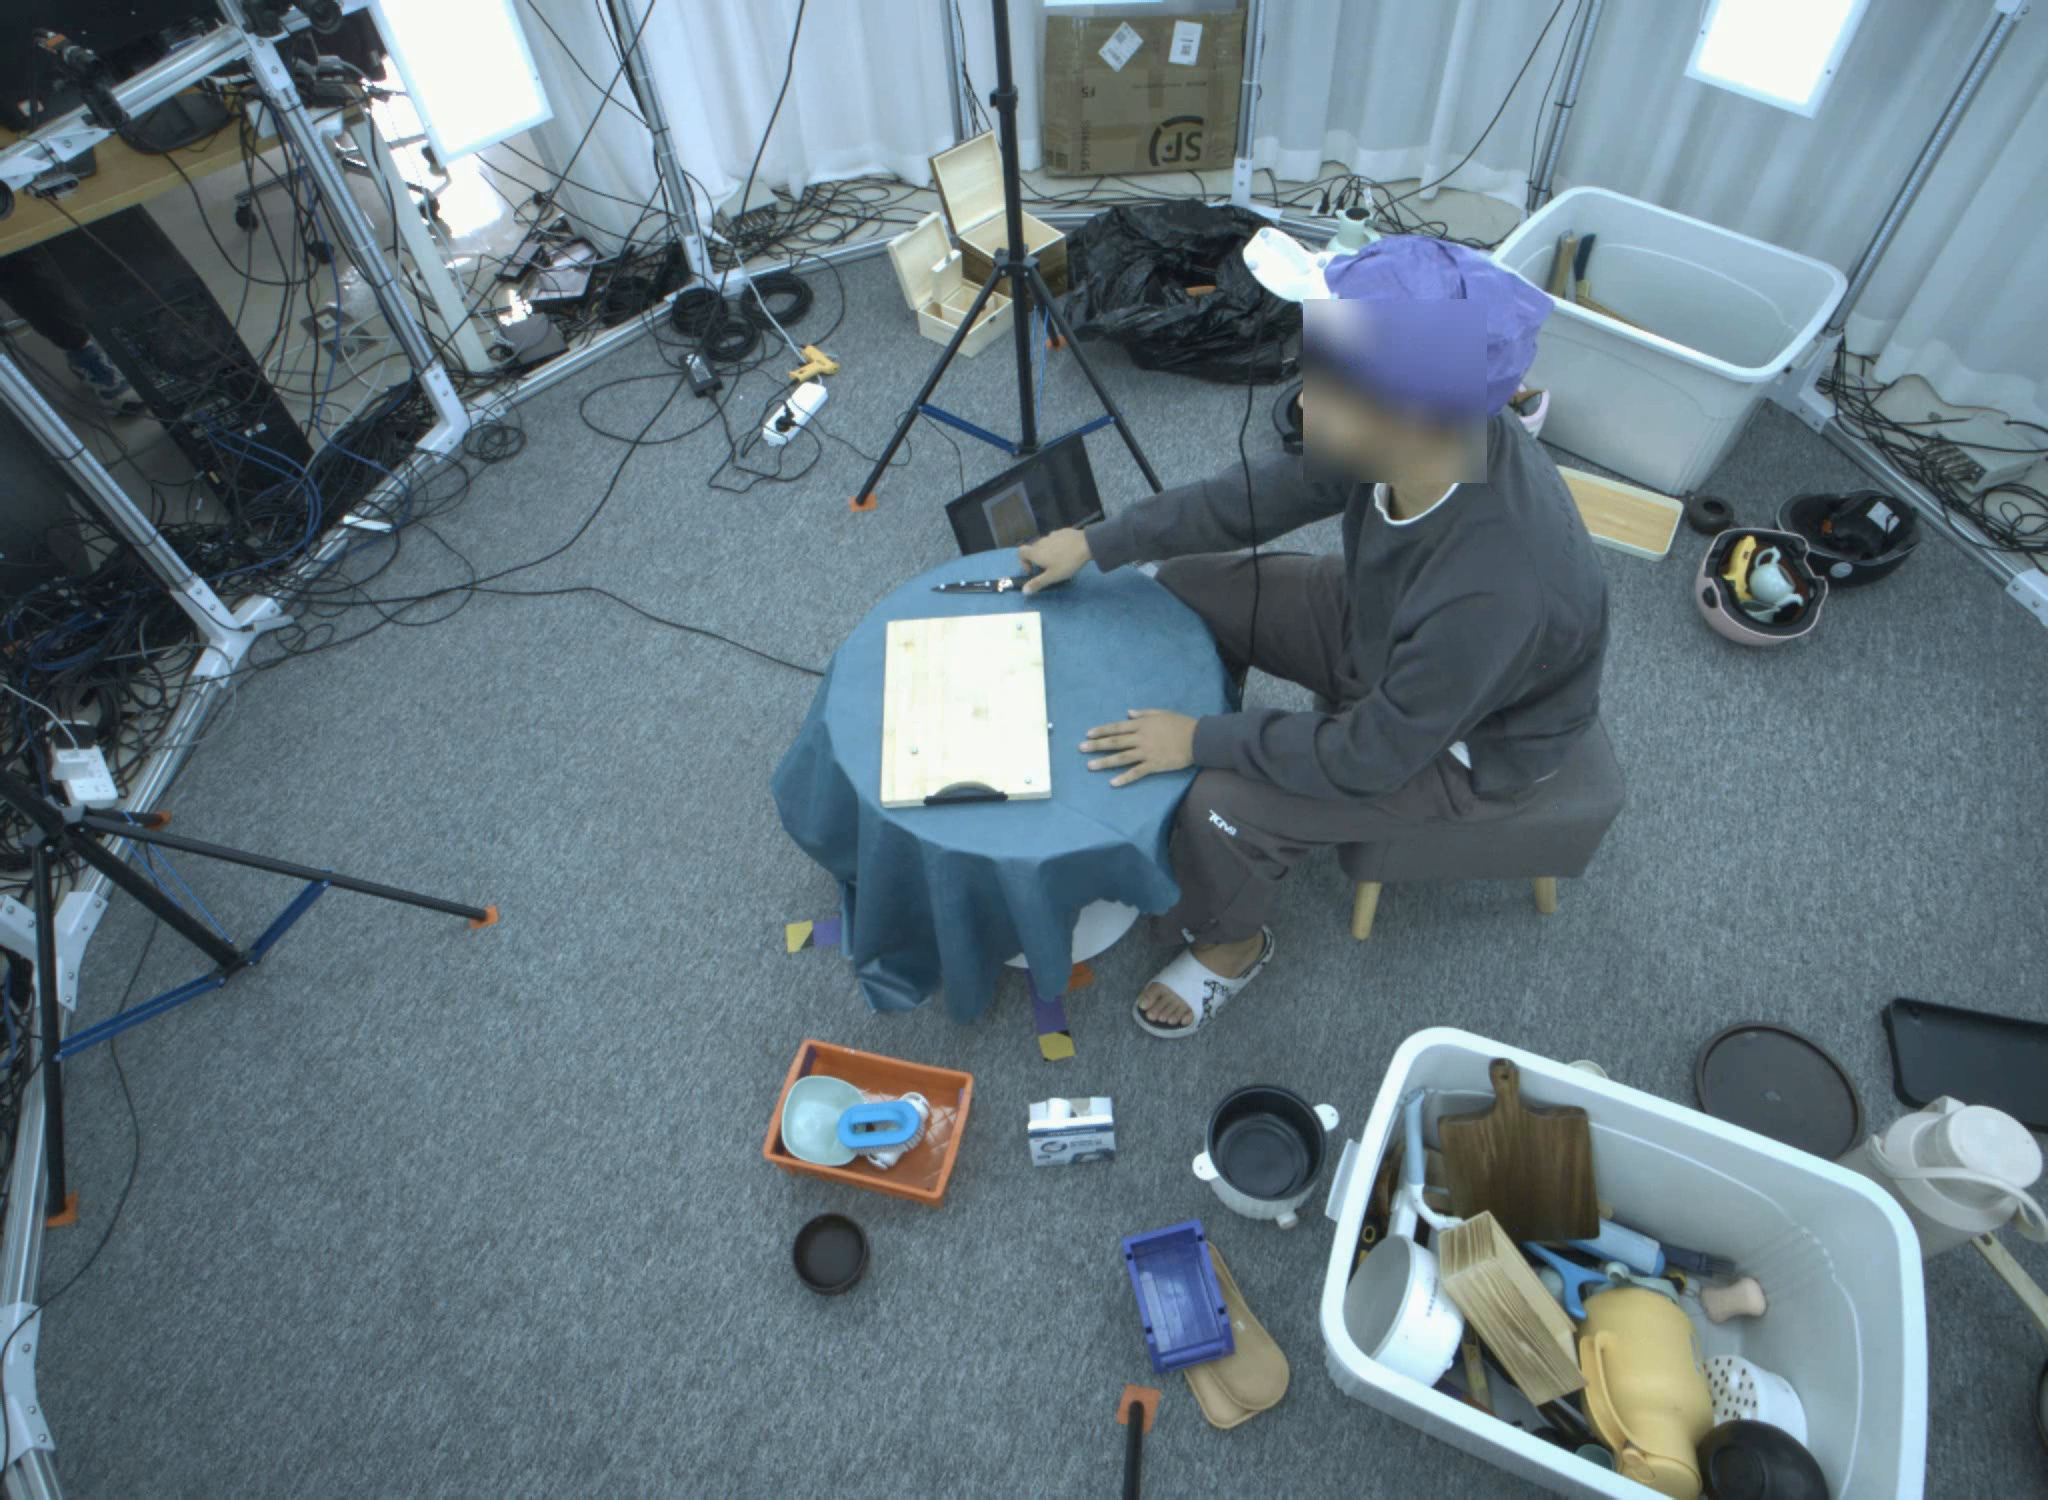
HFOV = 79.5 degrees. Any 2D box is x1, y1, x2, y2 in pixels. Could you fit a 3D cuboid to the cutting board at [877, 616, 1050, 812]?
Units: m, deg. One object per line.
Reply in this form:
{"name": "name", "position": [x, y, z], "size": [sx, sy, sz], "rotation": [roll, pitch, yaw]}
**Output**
{"name": "cutting board", "position": [-0.090, -0.063, 1.824], "size": [0.251, 0.024, 0.344], "rotation": [-4, 55, -1]}

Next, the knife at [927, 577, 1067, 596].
{"name": "knife", "position": [-0.045, -0.262, 1.968], "size": [0.225, 0.017, 0.026], "rotation": [-3, 61, 0]}
